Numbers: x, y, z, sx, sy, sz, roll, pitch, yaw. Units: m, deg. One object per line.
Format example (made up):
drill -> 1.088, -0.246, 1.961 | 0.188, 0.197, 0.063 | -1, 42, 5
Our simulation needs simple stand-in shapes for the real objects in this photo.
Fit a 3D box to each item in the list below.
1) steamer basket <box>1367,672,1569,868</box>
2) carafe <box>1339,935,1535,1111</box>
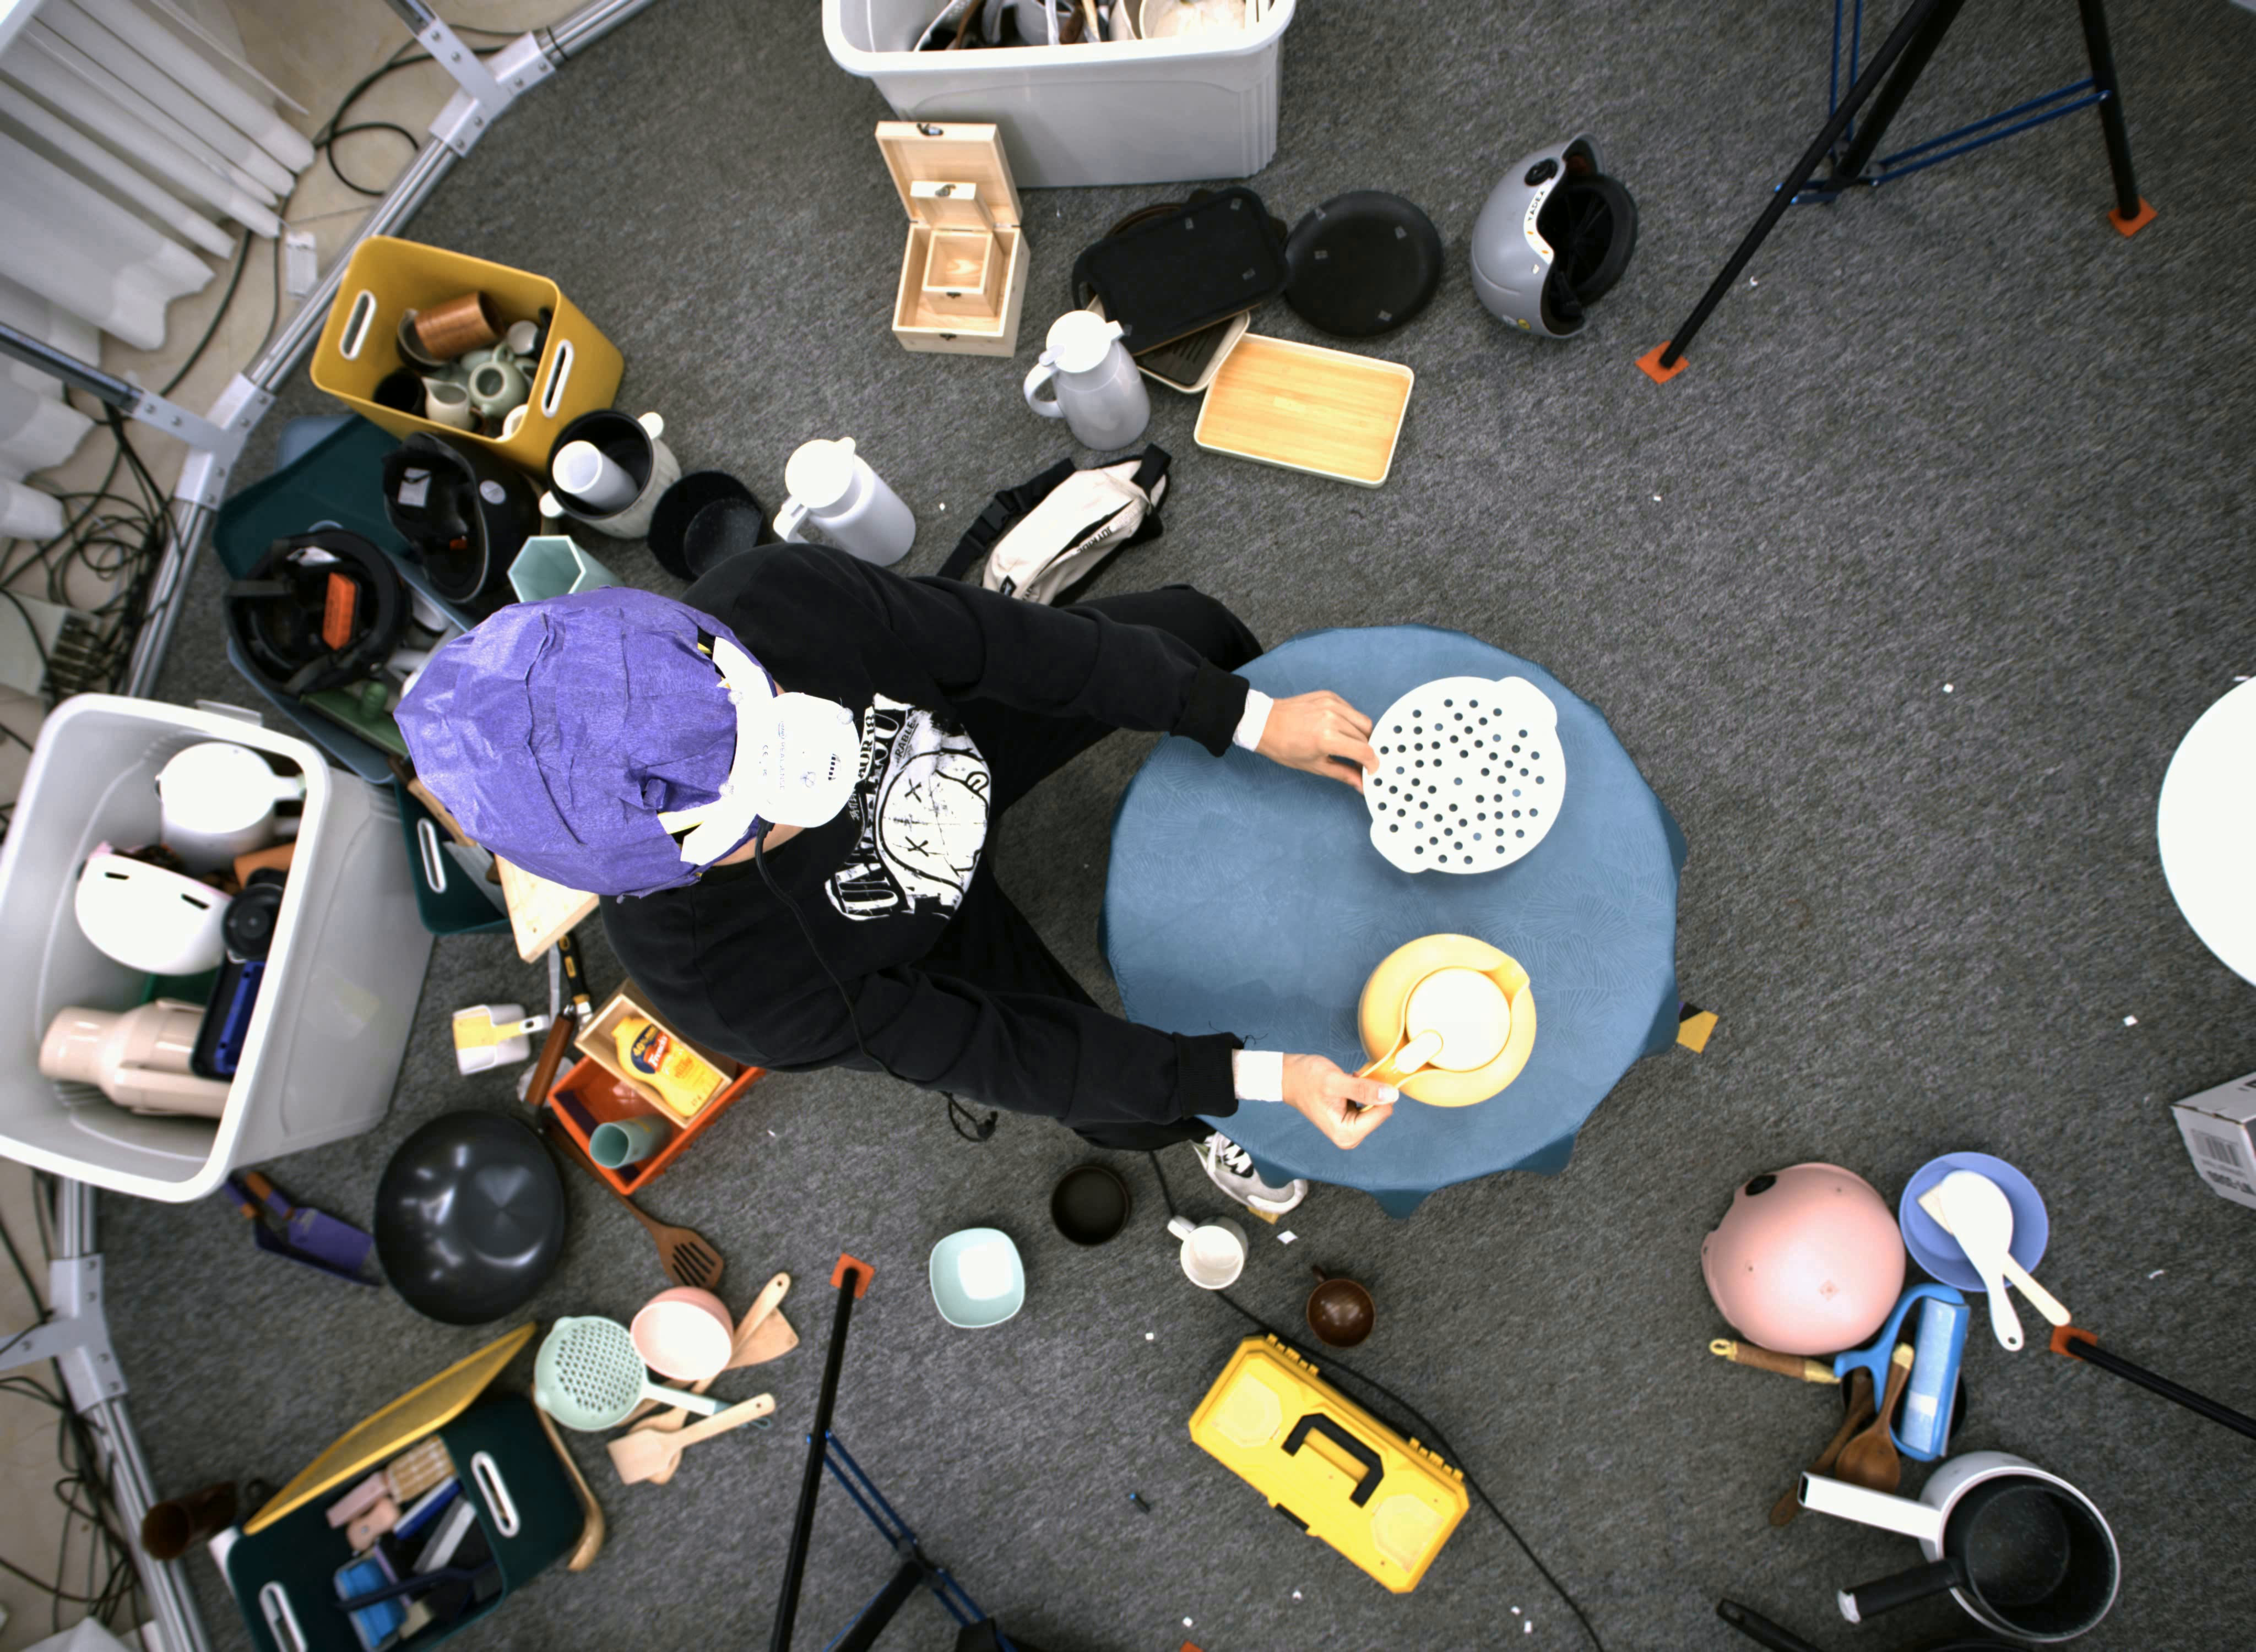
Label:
steamer basket -> 0.346, -0.056, 1.414 | 0.201, 0.069, 0.231 | 42, 92, 8
carafe -> 0.284, 0.193, 1.306 | 0.203, 0.262, 0.162 | -37, 76, 1
